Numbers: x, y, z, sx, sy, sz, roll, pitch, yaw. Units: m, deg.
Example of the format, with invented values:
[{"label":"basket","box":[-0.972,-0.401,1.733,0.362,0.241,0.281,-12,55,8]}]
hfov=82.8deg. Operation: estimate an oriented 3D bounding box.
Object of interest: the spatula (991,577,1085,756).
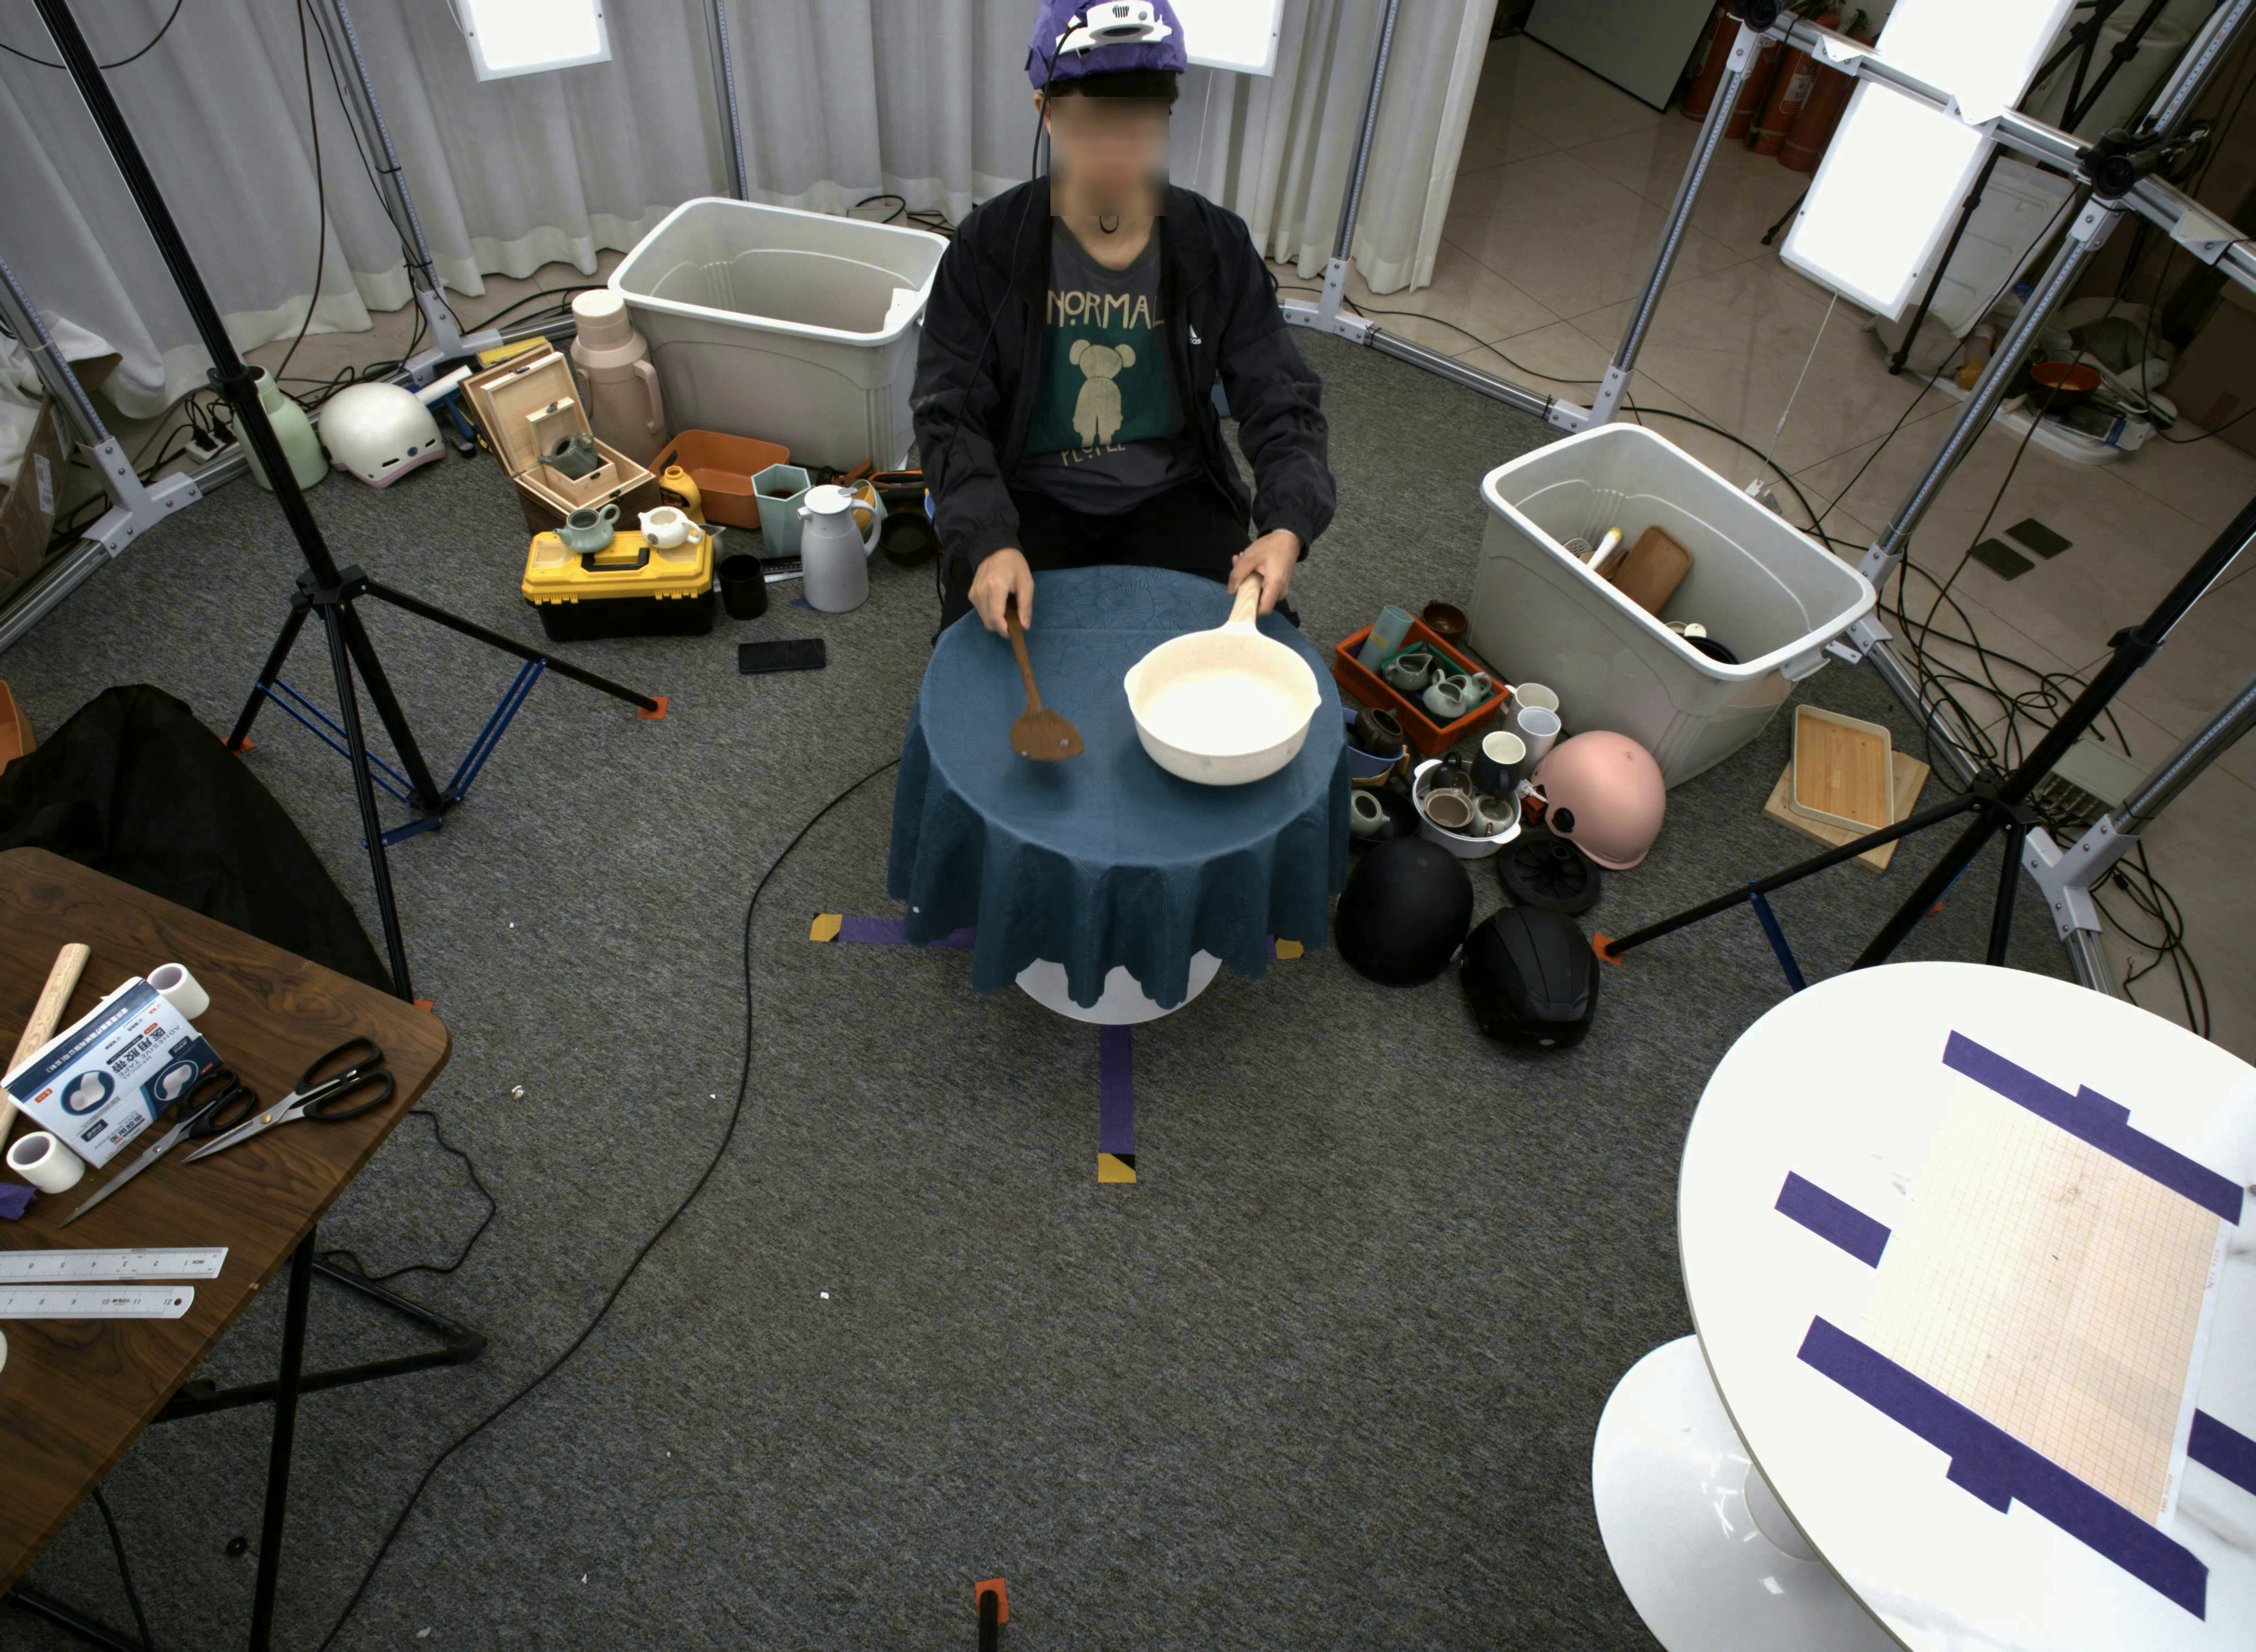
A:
[{"label":"spatula","box":[-0.144,-0.231,1.780,0.096,0.015,0.396,-4,47,-16]}]

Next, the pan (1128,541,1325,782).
[{"label":"pan","box":[0.152,-0.229,1.779,0.264,0.099,0.444,6,46,13]}]
